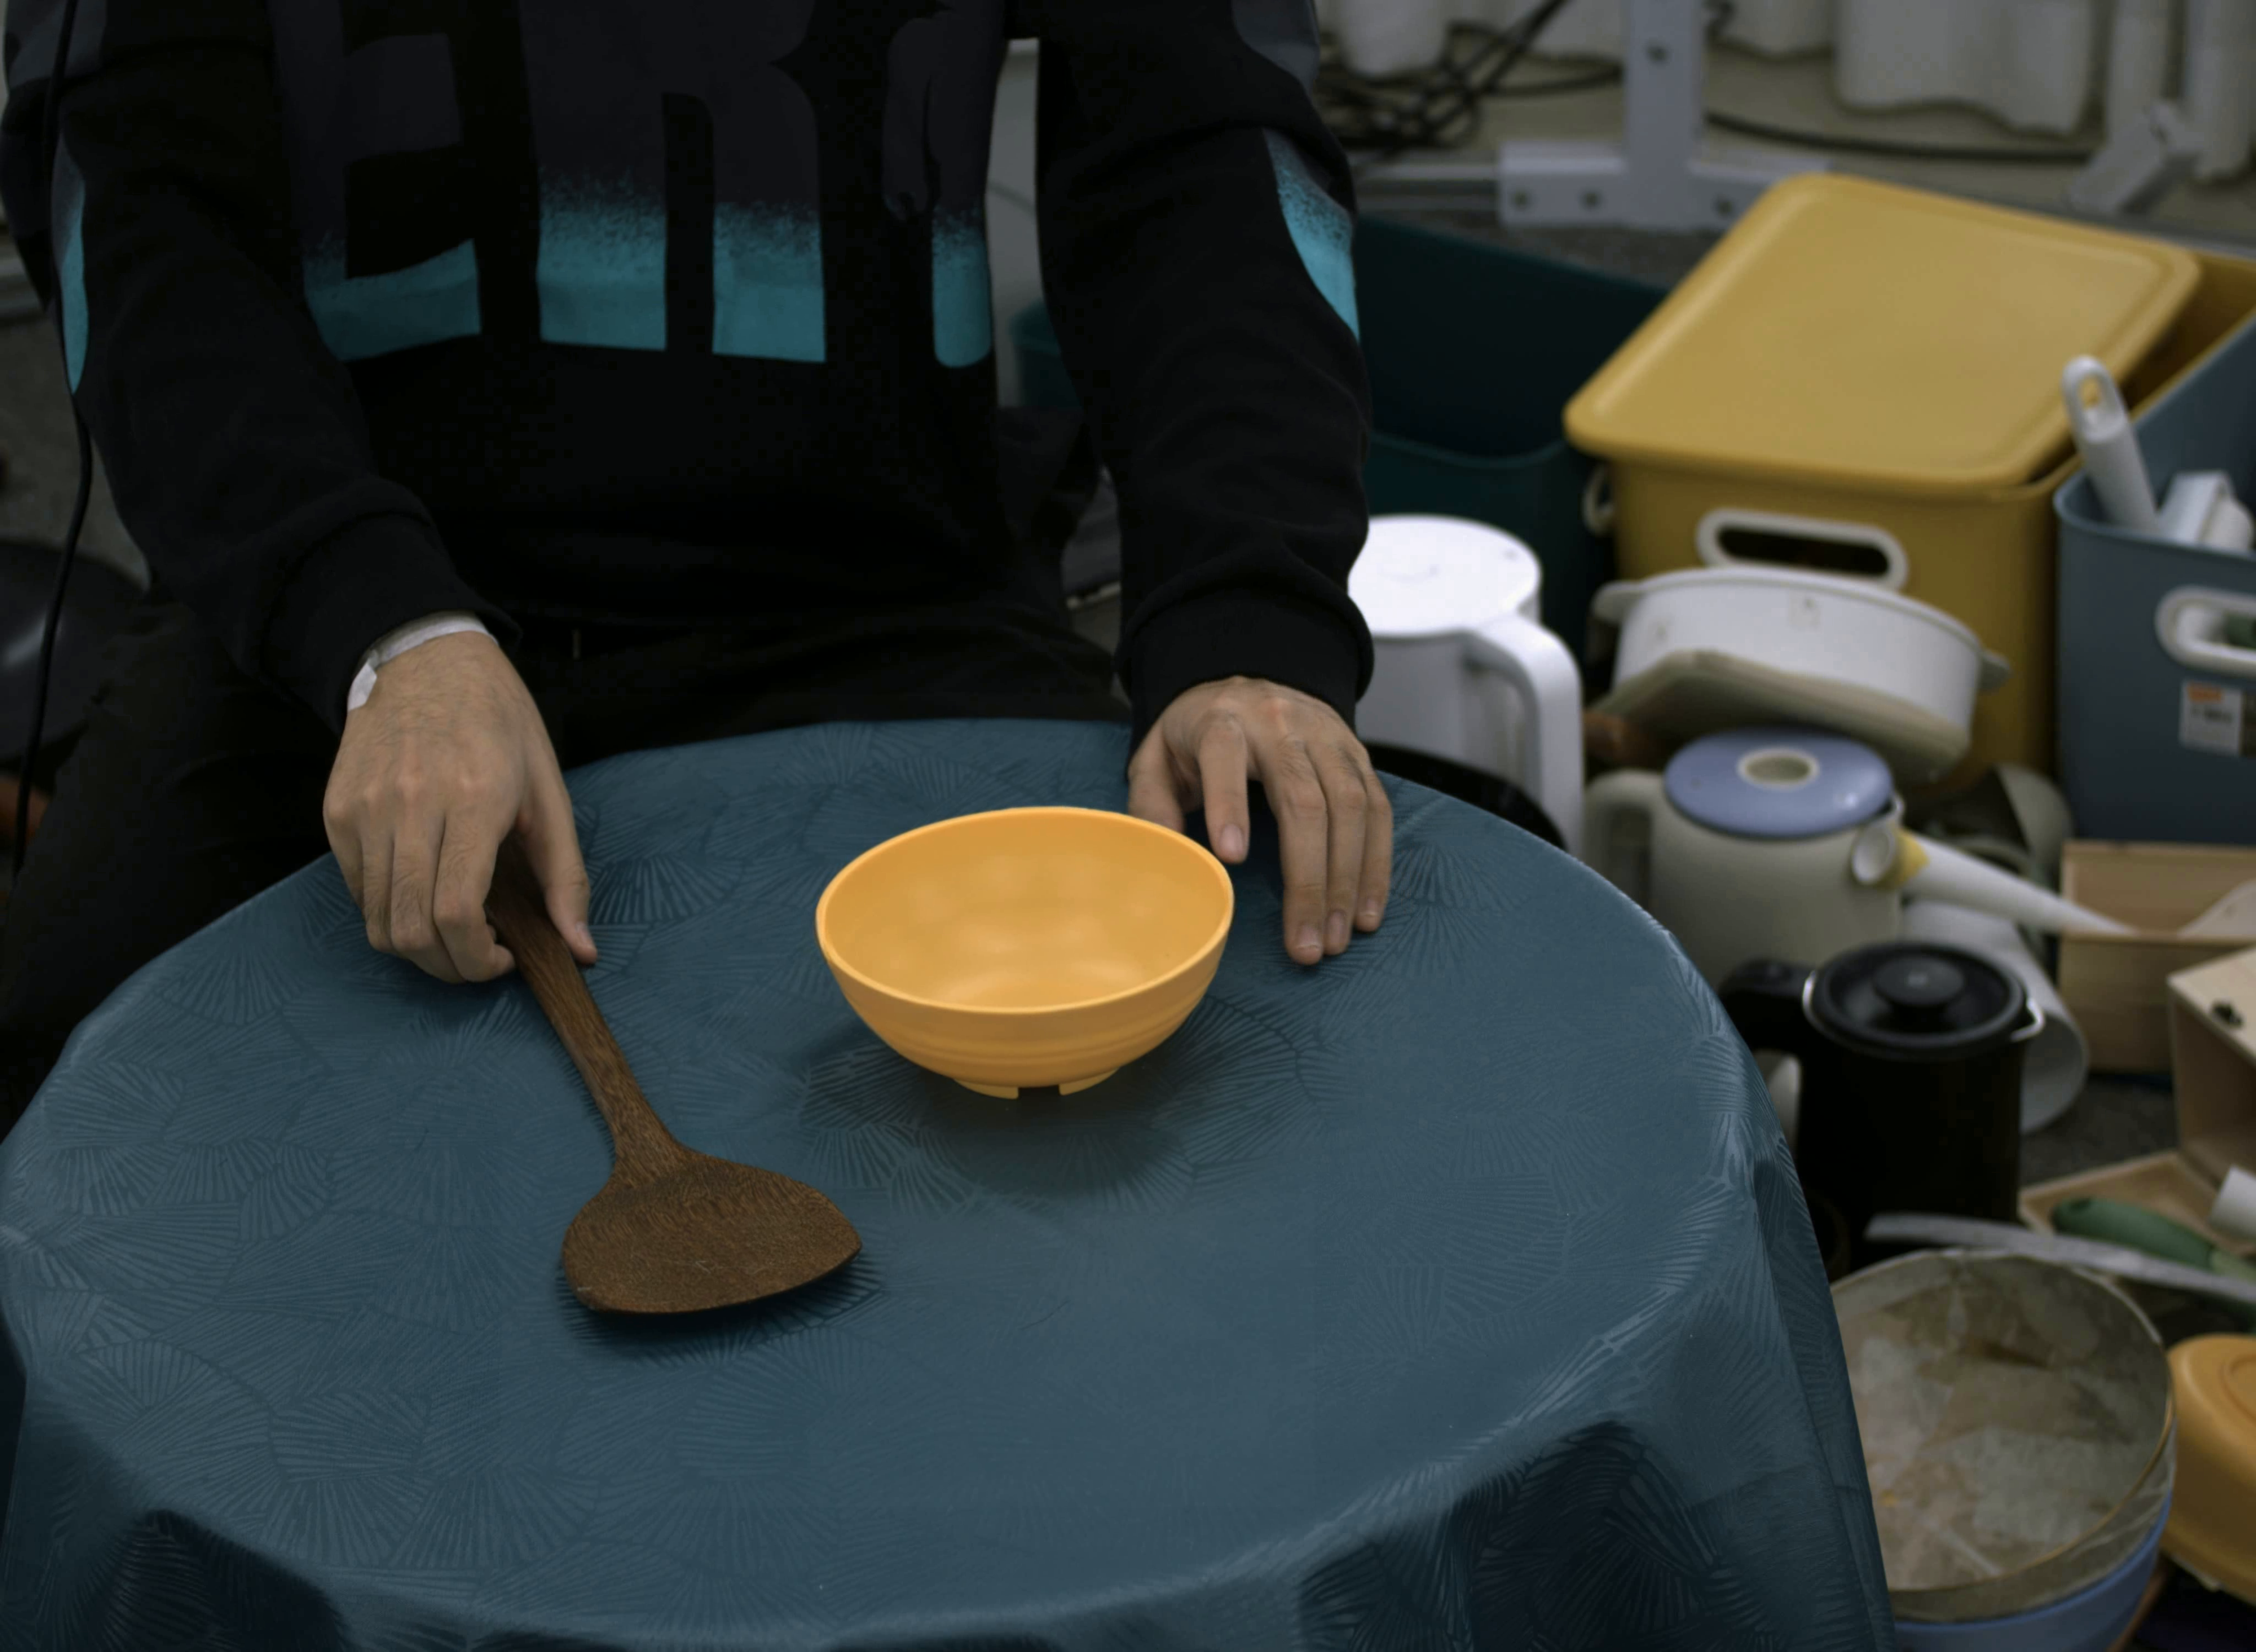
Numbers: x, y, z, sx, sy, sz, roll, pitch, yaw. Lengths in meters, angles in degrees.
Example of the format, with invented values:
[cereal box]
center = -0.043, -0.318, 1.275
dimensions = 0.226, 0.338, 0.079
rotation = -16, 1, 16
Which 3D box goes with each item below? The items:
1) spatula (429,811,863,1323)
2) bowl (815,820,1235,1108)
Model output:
[spatula]
center = -0.188, 0.075, 1.954
dimensions = 0.096, 0.015, 0.389
rotation = -11, 28, -16
[bowl]
center = -0.035, 0.056, 1.934
dimensions = 0.144, 0.059, 0.147
rotation = 0, 25, 1
